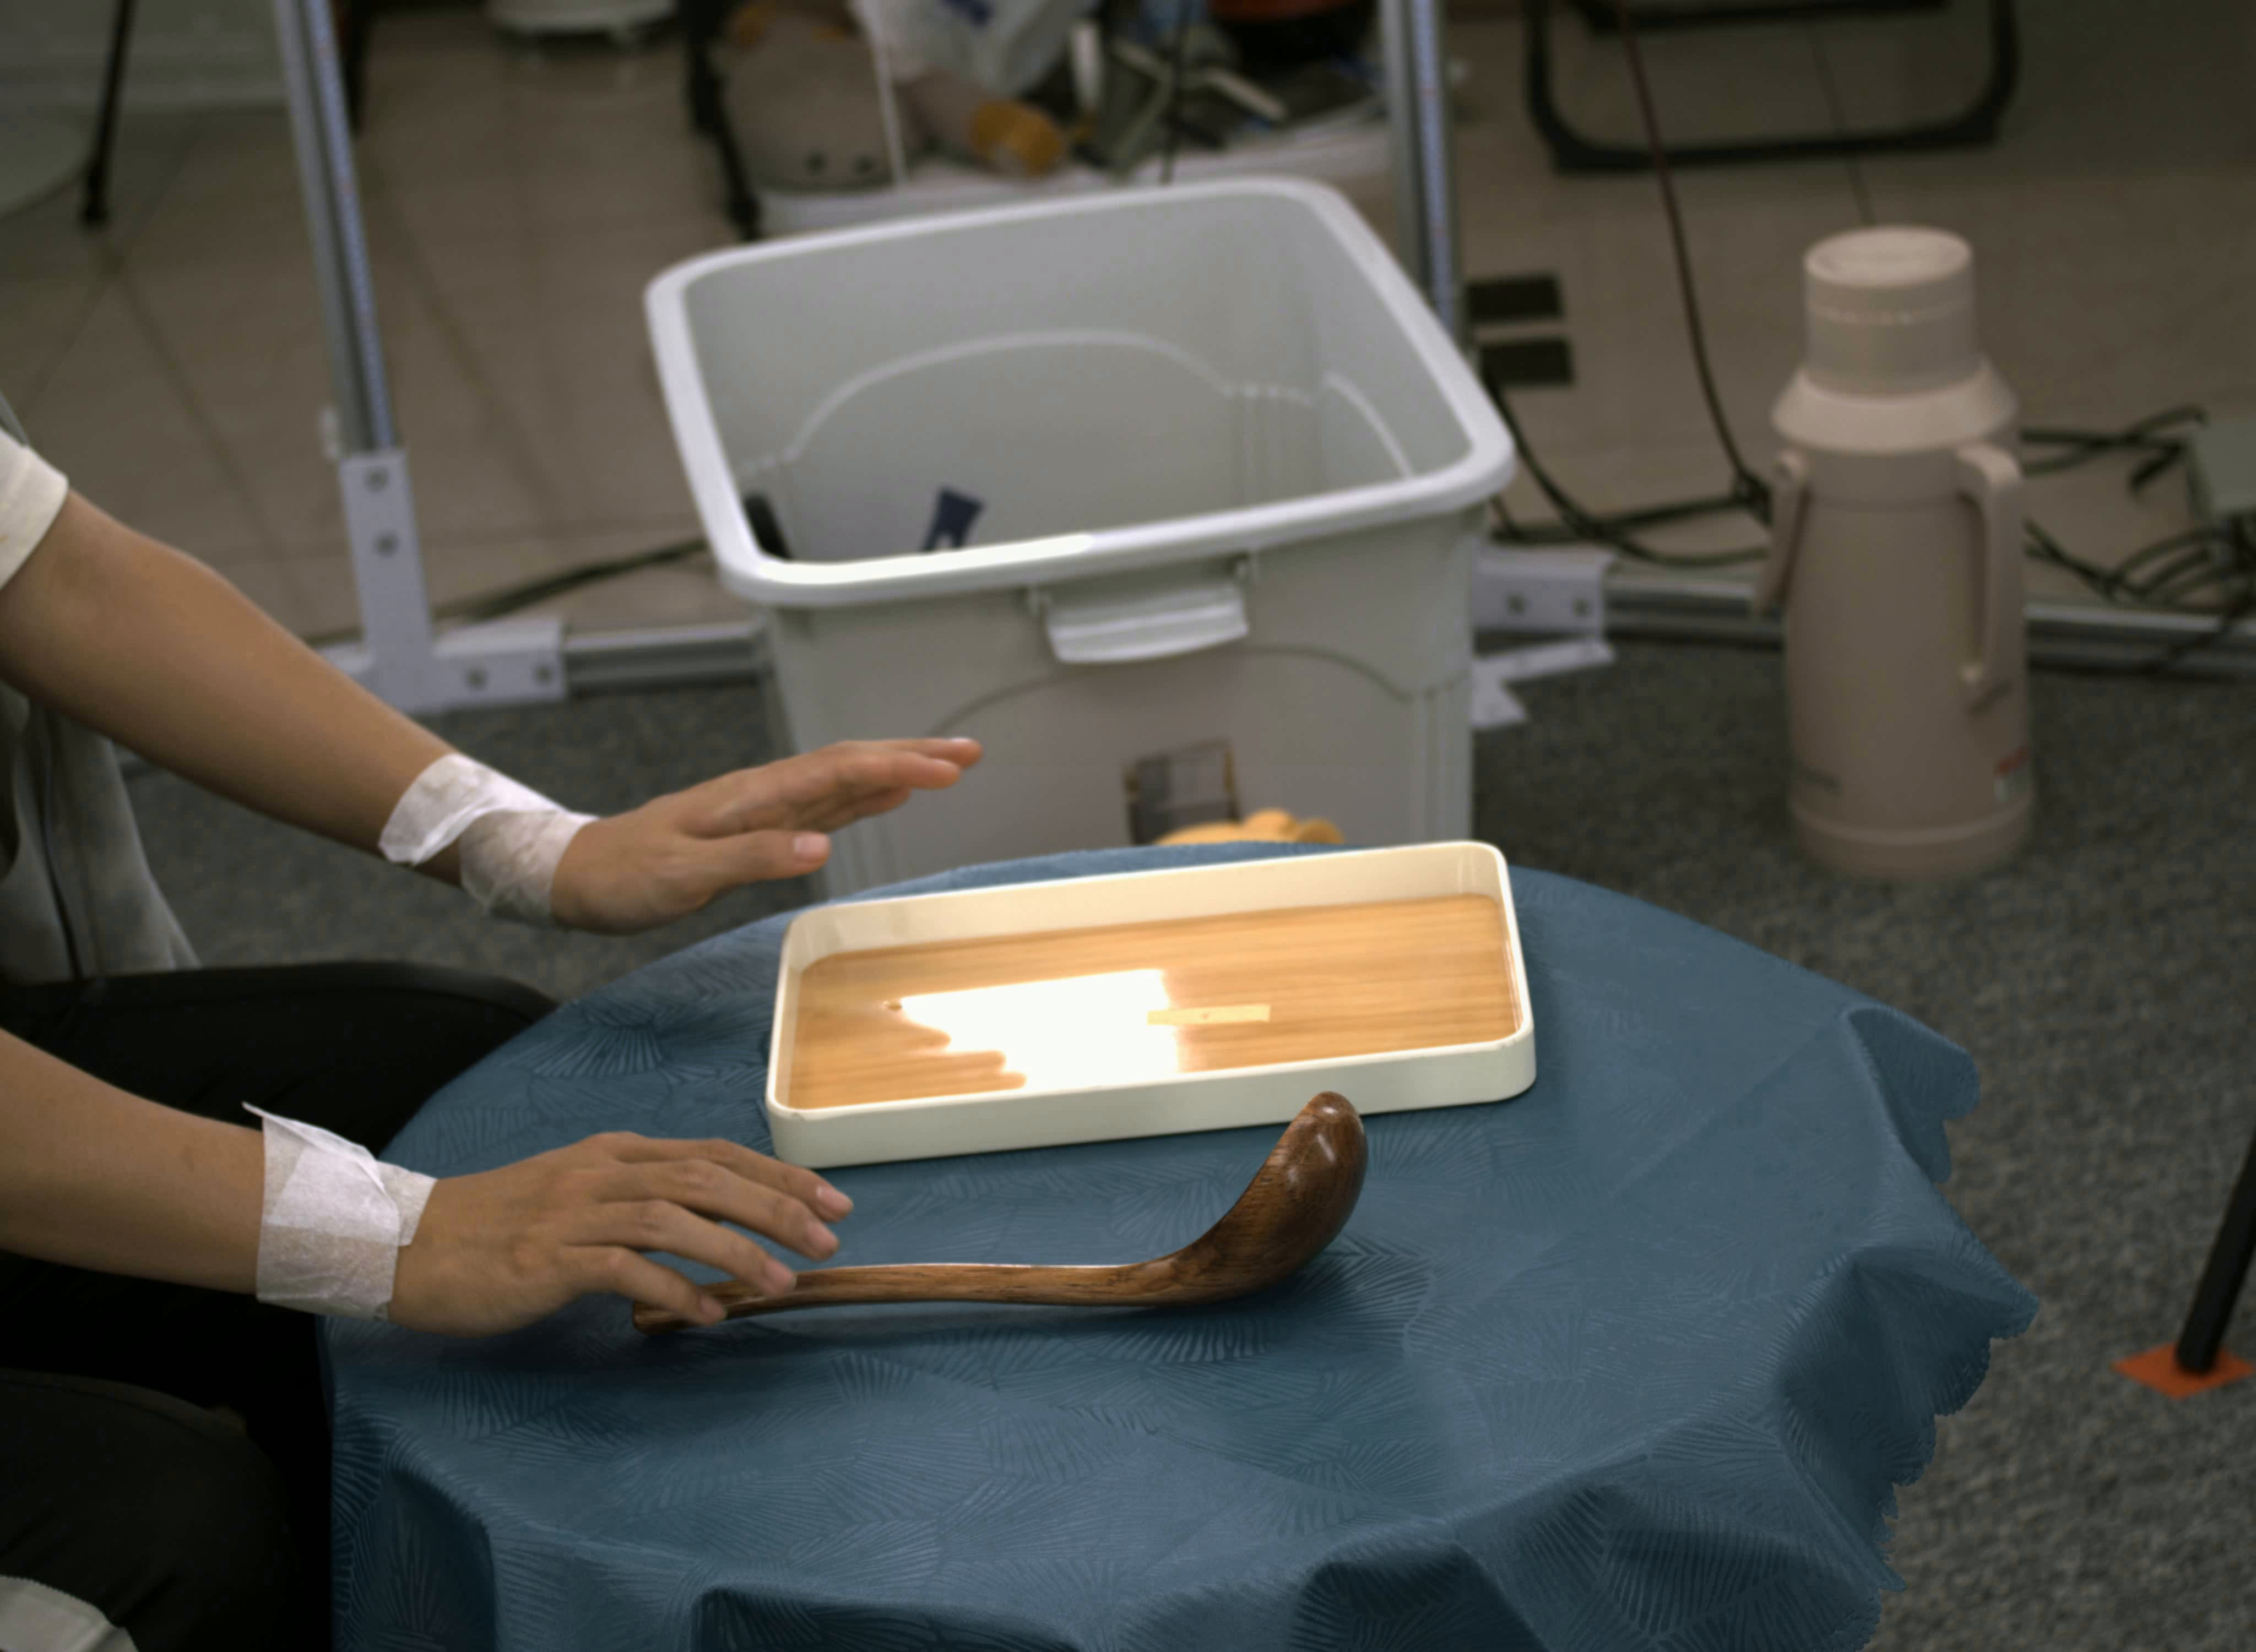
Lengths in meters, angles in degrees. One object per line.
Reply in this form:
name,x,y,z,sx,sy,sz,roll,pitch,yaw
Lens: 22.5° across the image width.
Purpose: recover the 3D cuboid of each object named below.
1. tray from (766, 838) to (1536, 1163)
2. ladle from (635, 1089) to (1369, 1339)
tray,0.008,0.068,2.267,0.300,0.028,0.189,-5,25,2
ladle,-0.048,0.141,2.075,0.273,0.076,0.082,-4,-14,8
